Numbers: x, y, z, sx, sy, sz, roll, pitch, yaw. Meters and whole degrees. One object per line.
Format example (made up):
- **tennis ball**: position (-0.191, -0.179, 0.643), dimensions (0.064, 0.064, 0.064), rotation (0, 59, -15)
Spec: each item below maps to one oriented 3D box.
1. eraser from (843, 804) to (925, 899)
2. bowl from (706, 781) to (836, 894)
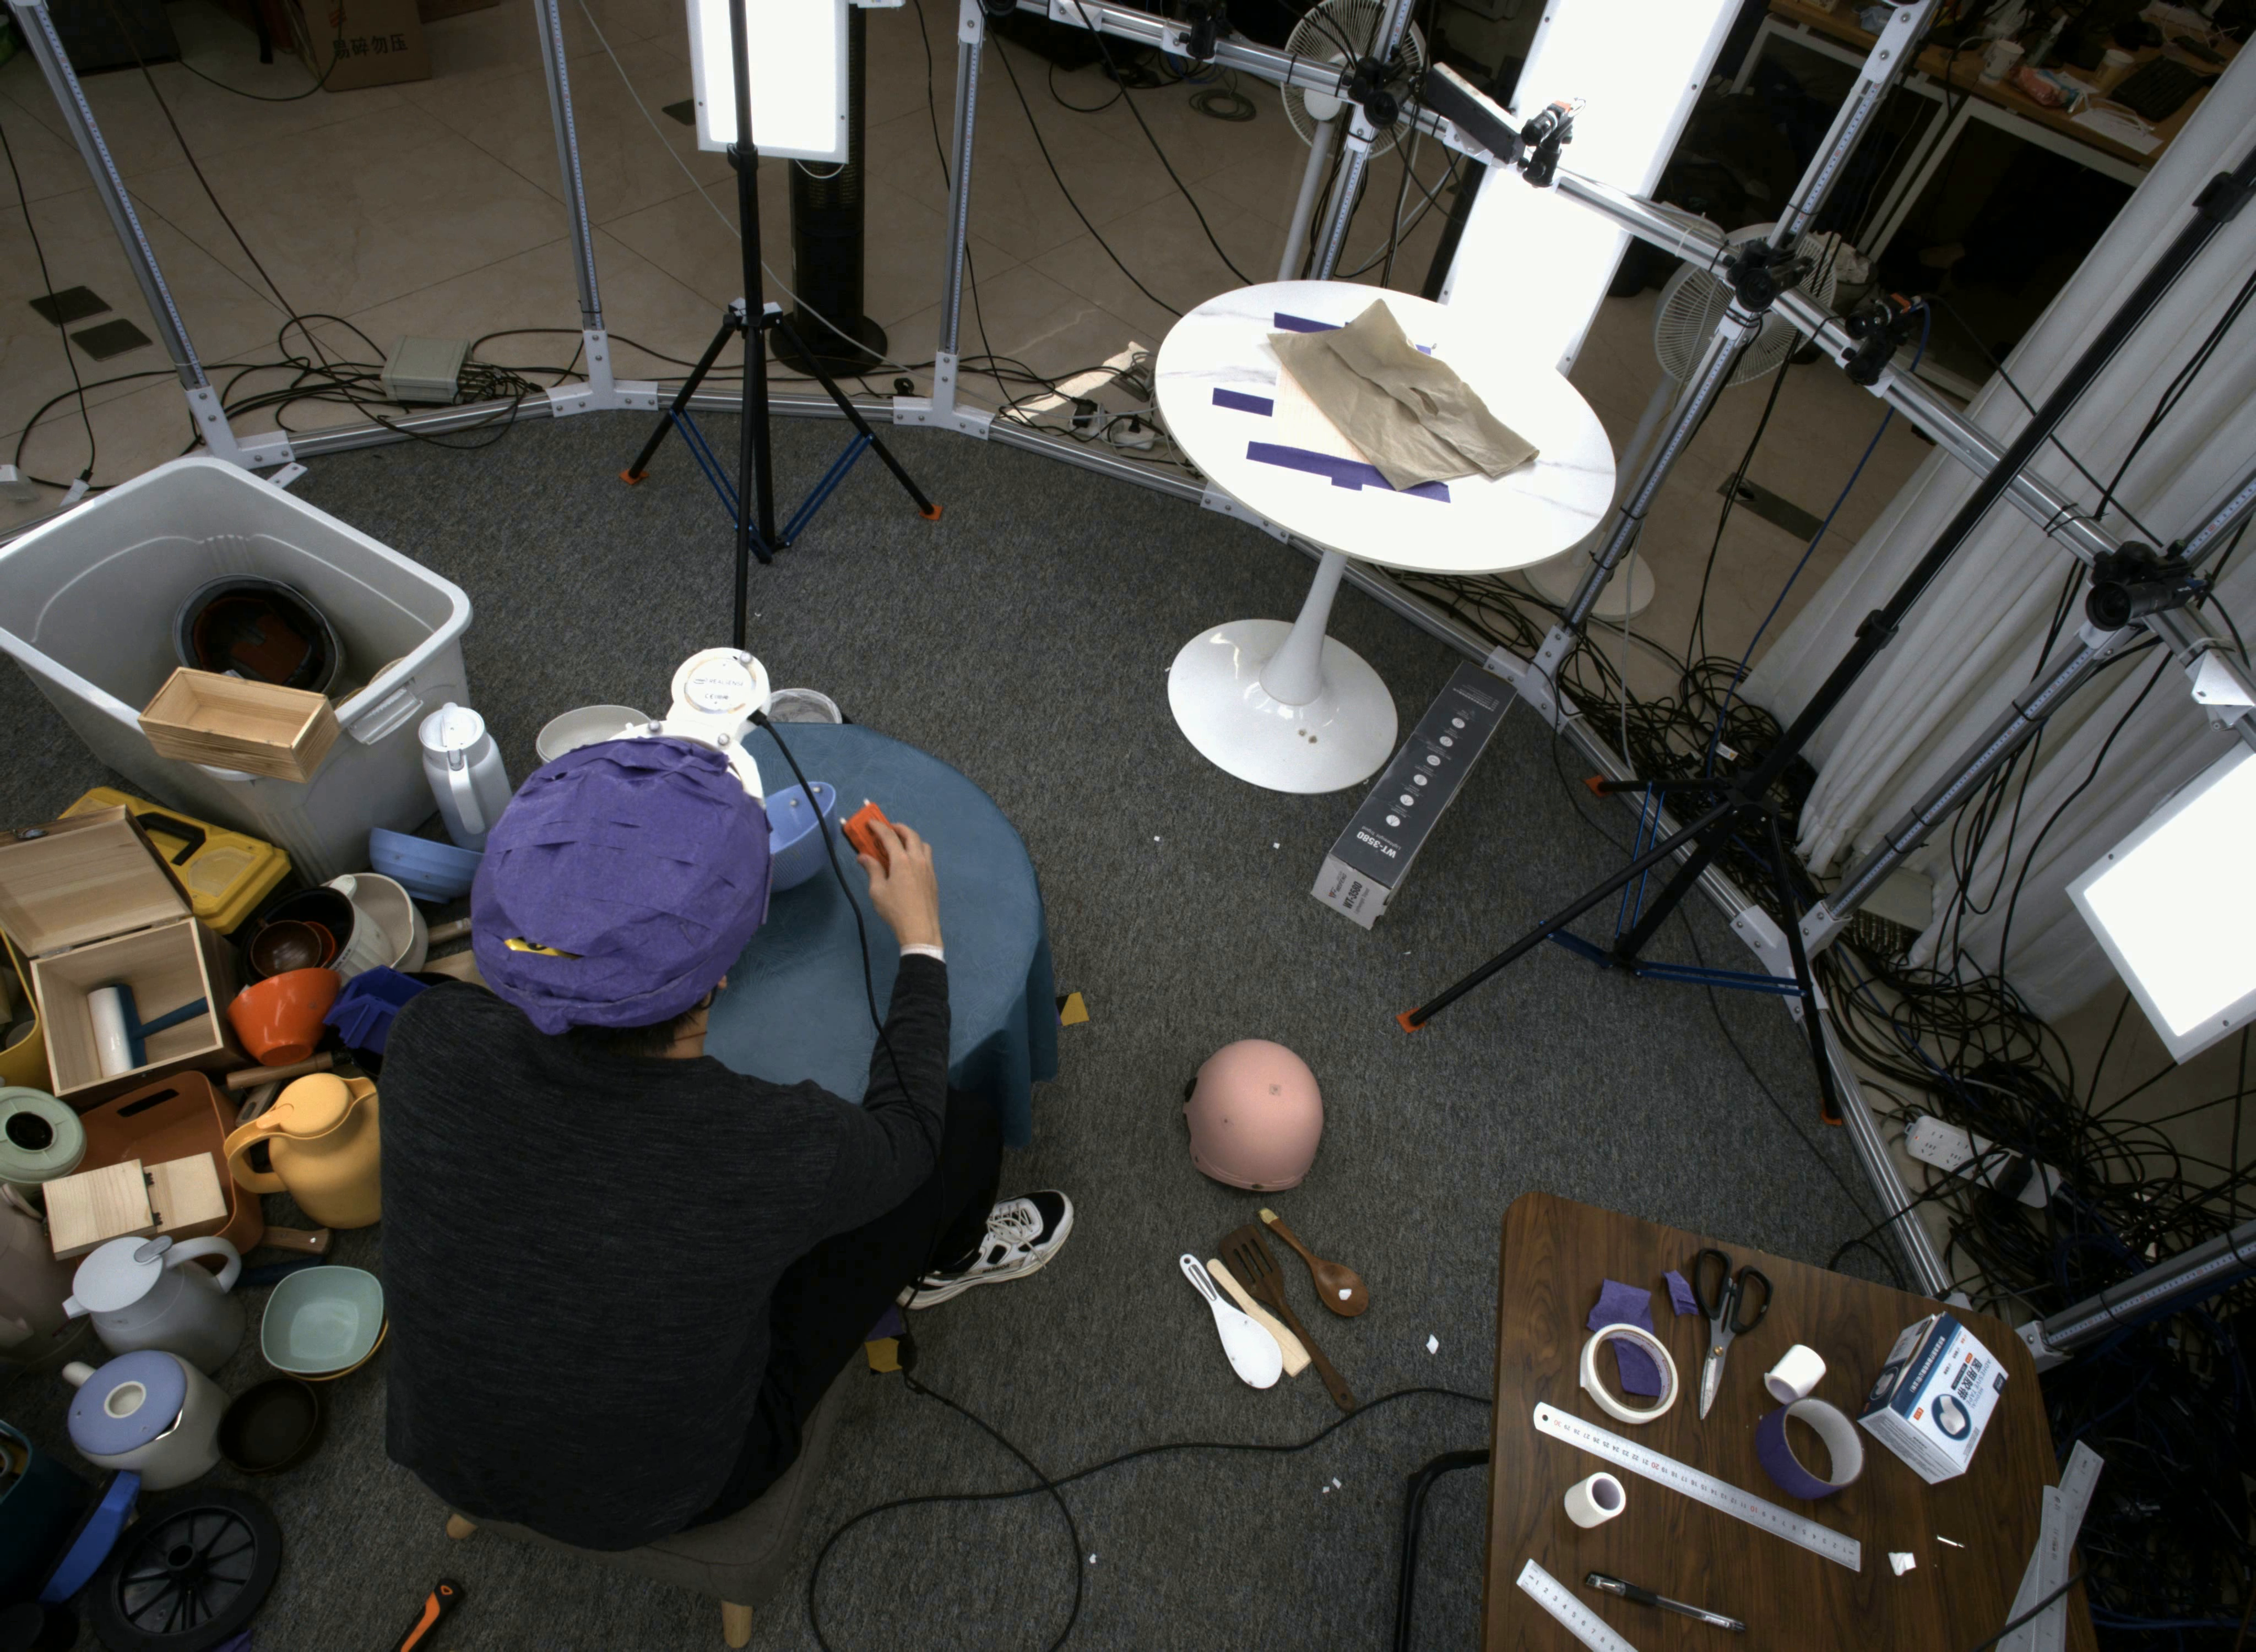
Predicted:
- **eraser**: position (-0.297, 0.030, 1.583), dimensions (0.110, 0.022, 0.059), rotation (56, 35, -13)
- **bowl**: position (-0.433, 0.022, 1.614), dimensions (0.173, 0.073, 0.172), rotation (-17, 32, 13)
